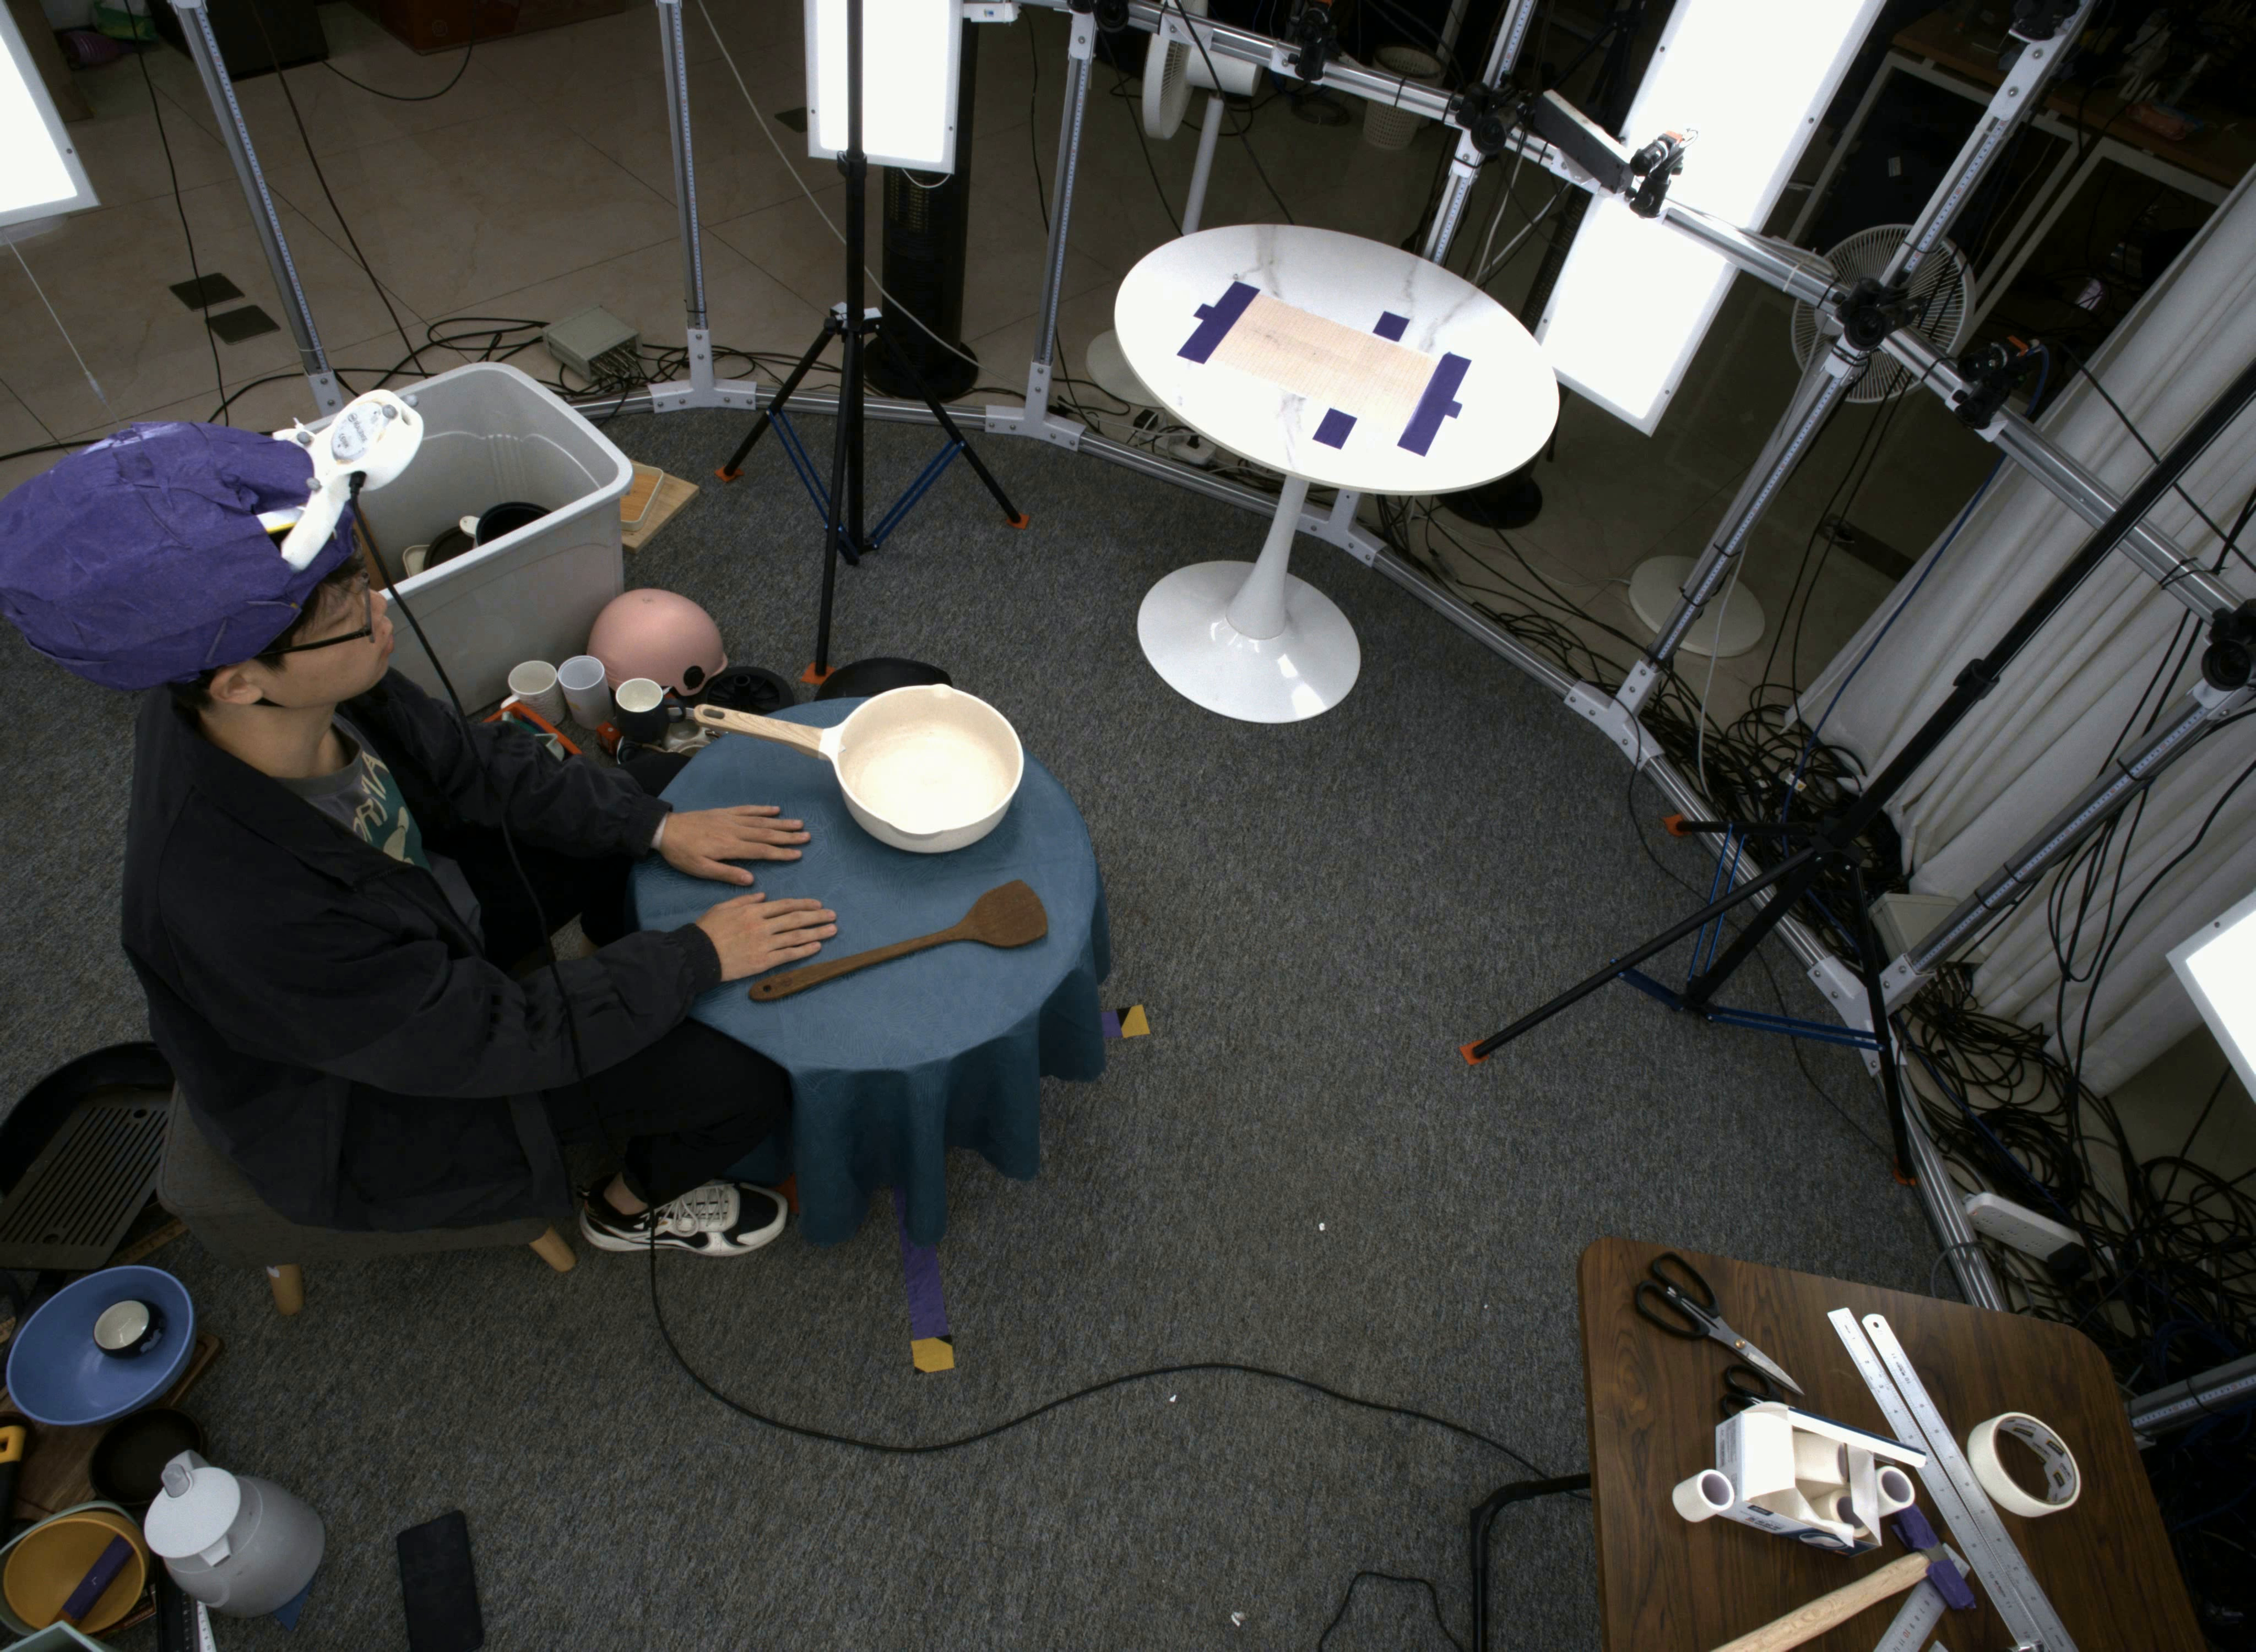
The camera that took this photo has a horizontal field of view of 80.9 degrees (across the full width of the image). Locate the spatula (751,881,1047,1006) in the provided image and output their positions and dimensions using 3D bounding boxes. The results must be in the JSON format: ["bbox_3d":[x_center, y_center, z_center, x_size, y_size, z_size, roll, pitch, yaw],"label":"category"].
[{"bbox_3d":[-0.284,0.154,1.636,0.388,0.016,0.093,-17,59,-24],"label":"spatula"}]

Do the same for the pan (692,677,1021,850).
[{"bbox_3d":[-0.361,-0.094,1.744,0.434,0.104,0.259,8,54,-8],"label":"pan"}]
